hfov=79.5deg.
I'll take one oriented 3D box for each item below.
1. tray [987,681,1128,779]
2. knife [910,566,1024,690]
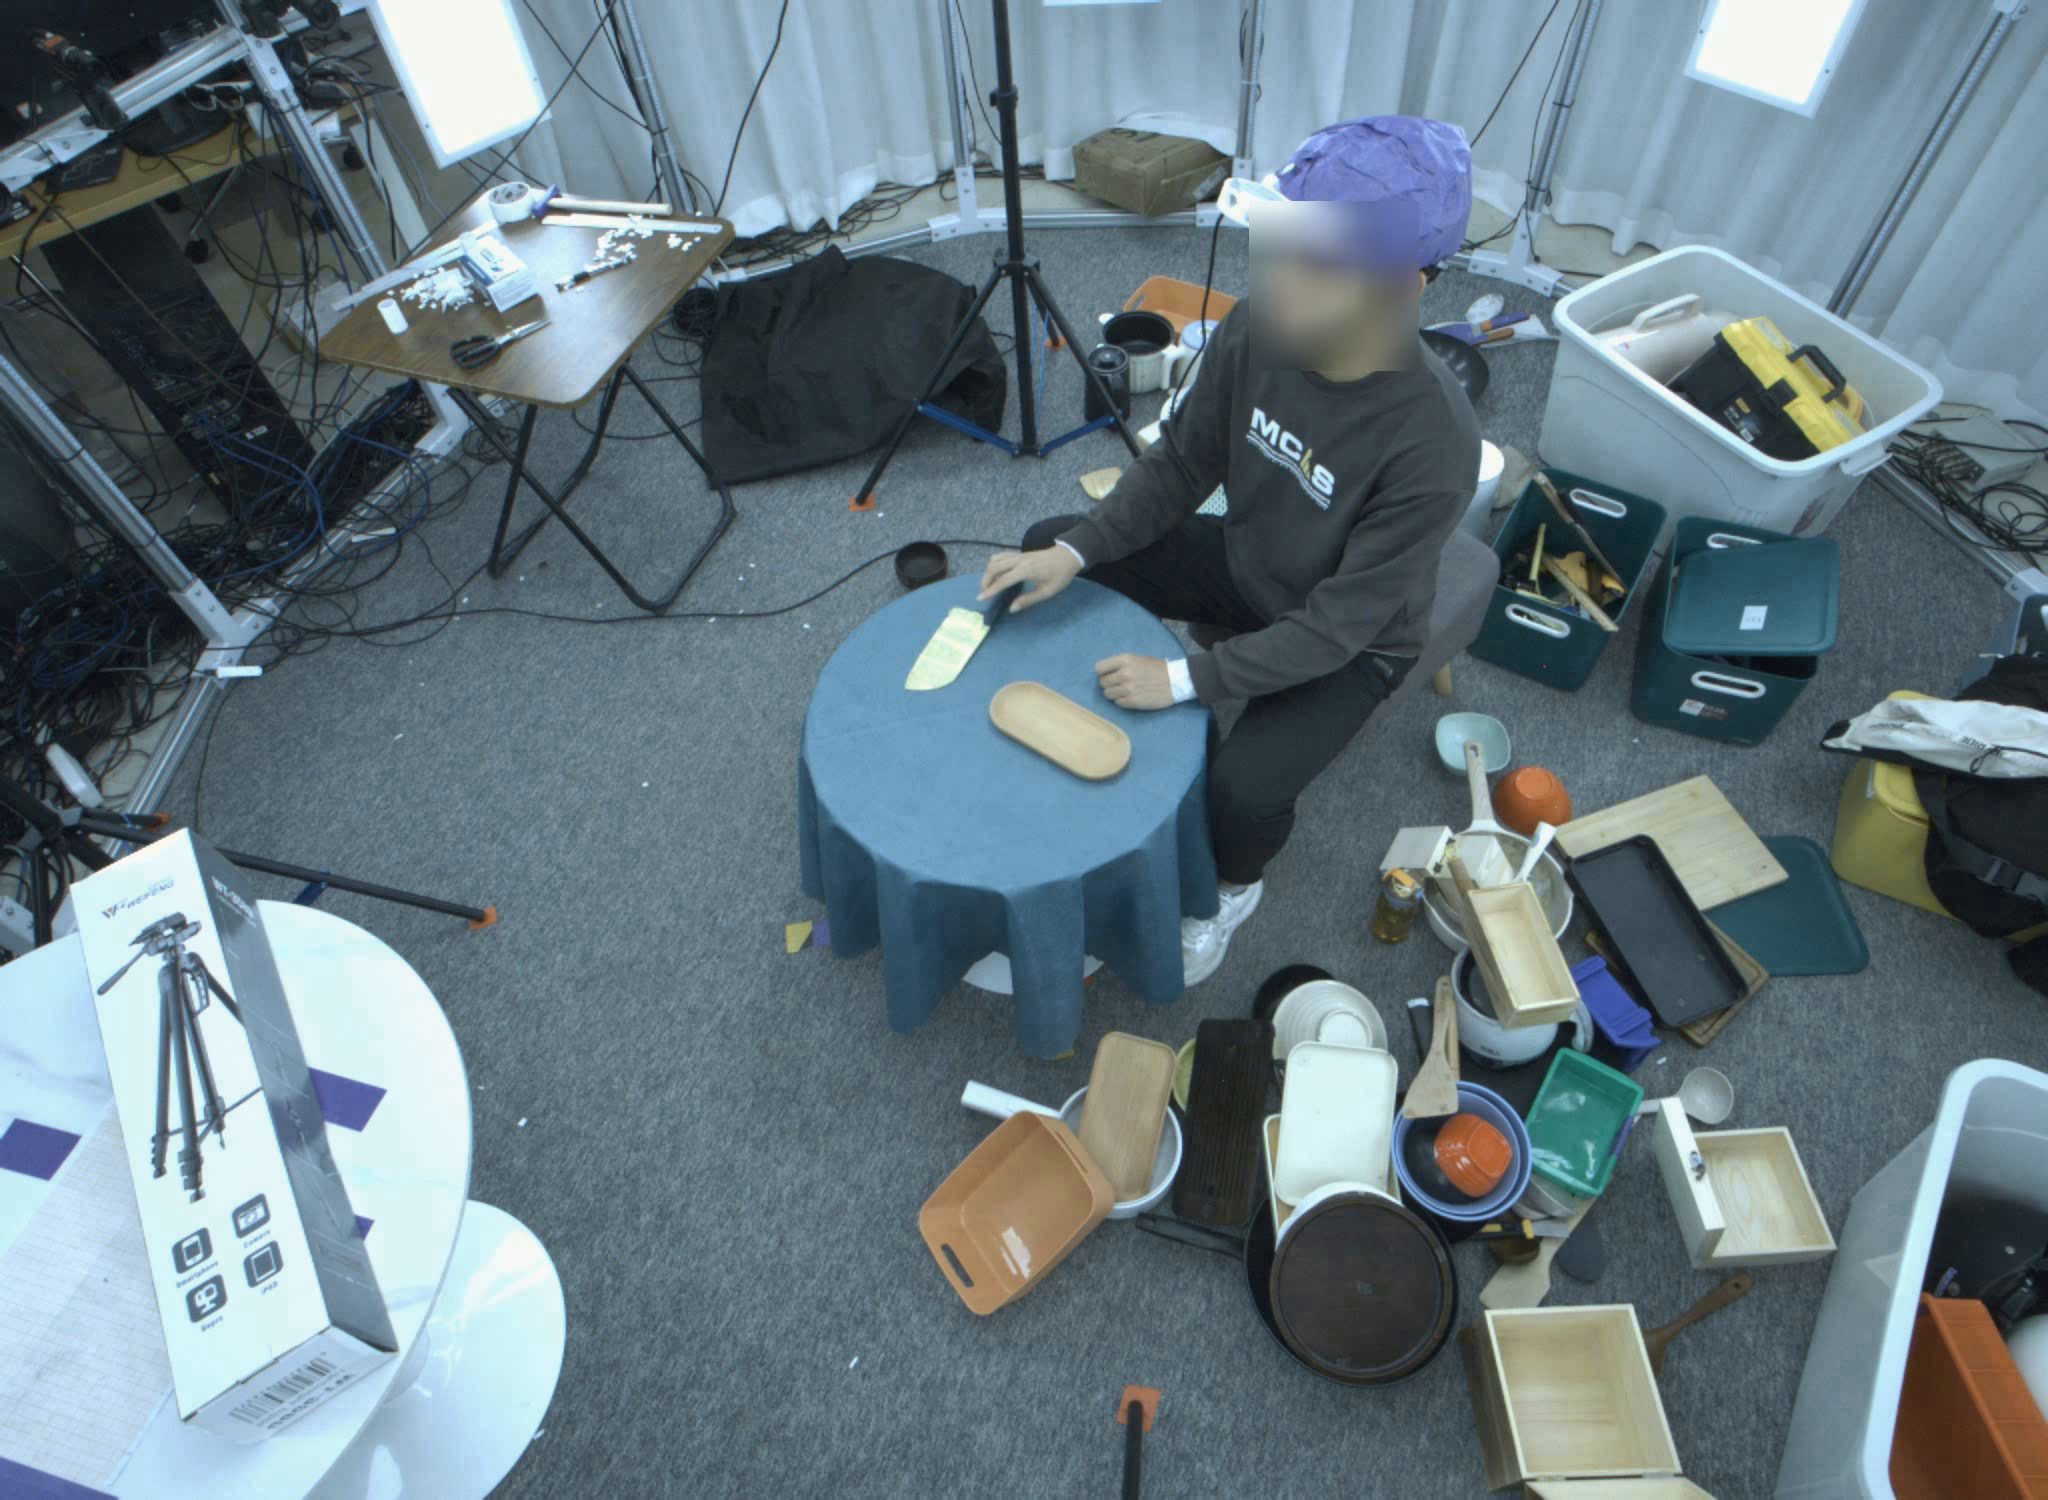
[{"bbox_3d":[0.048,-0.030,1.806,0.227,0.020,0.102,29,59,22],"label":"tray"},{"bbox_3d":[-0.088,-0.195,1.927,0.080,0.027,0.290,28,61,15],"label":"knife"}]
